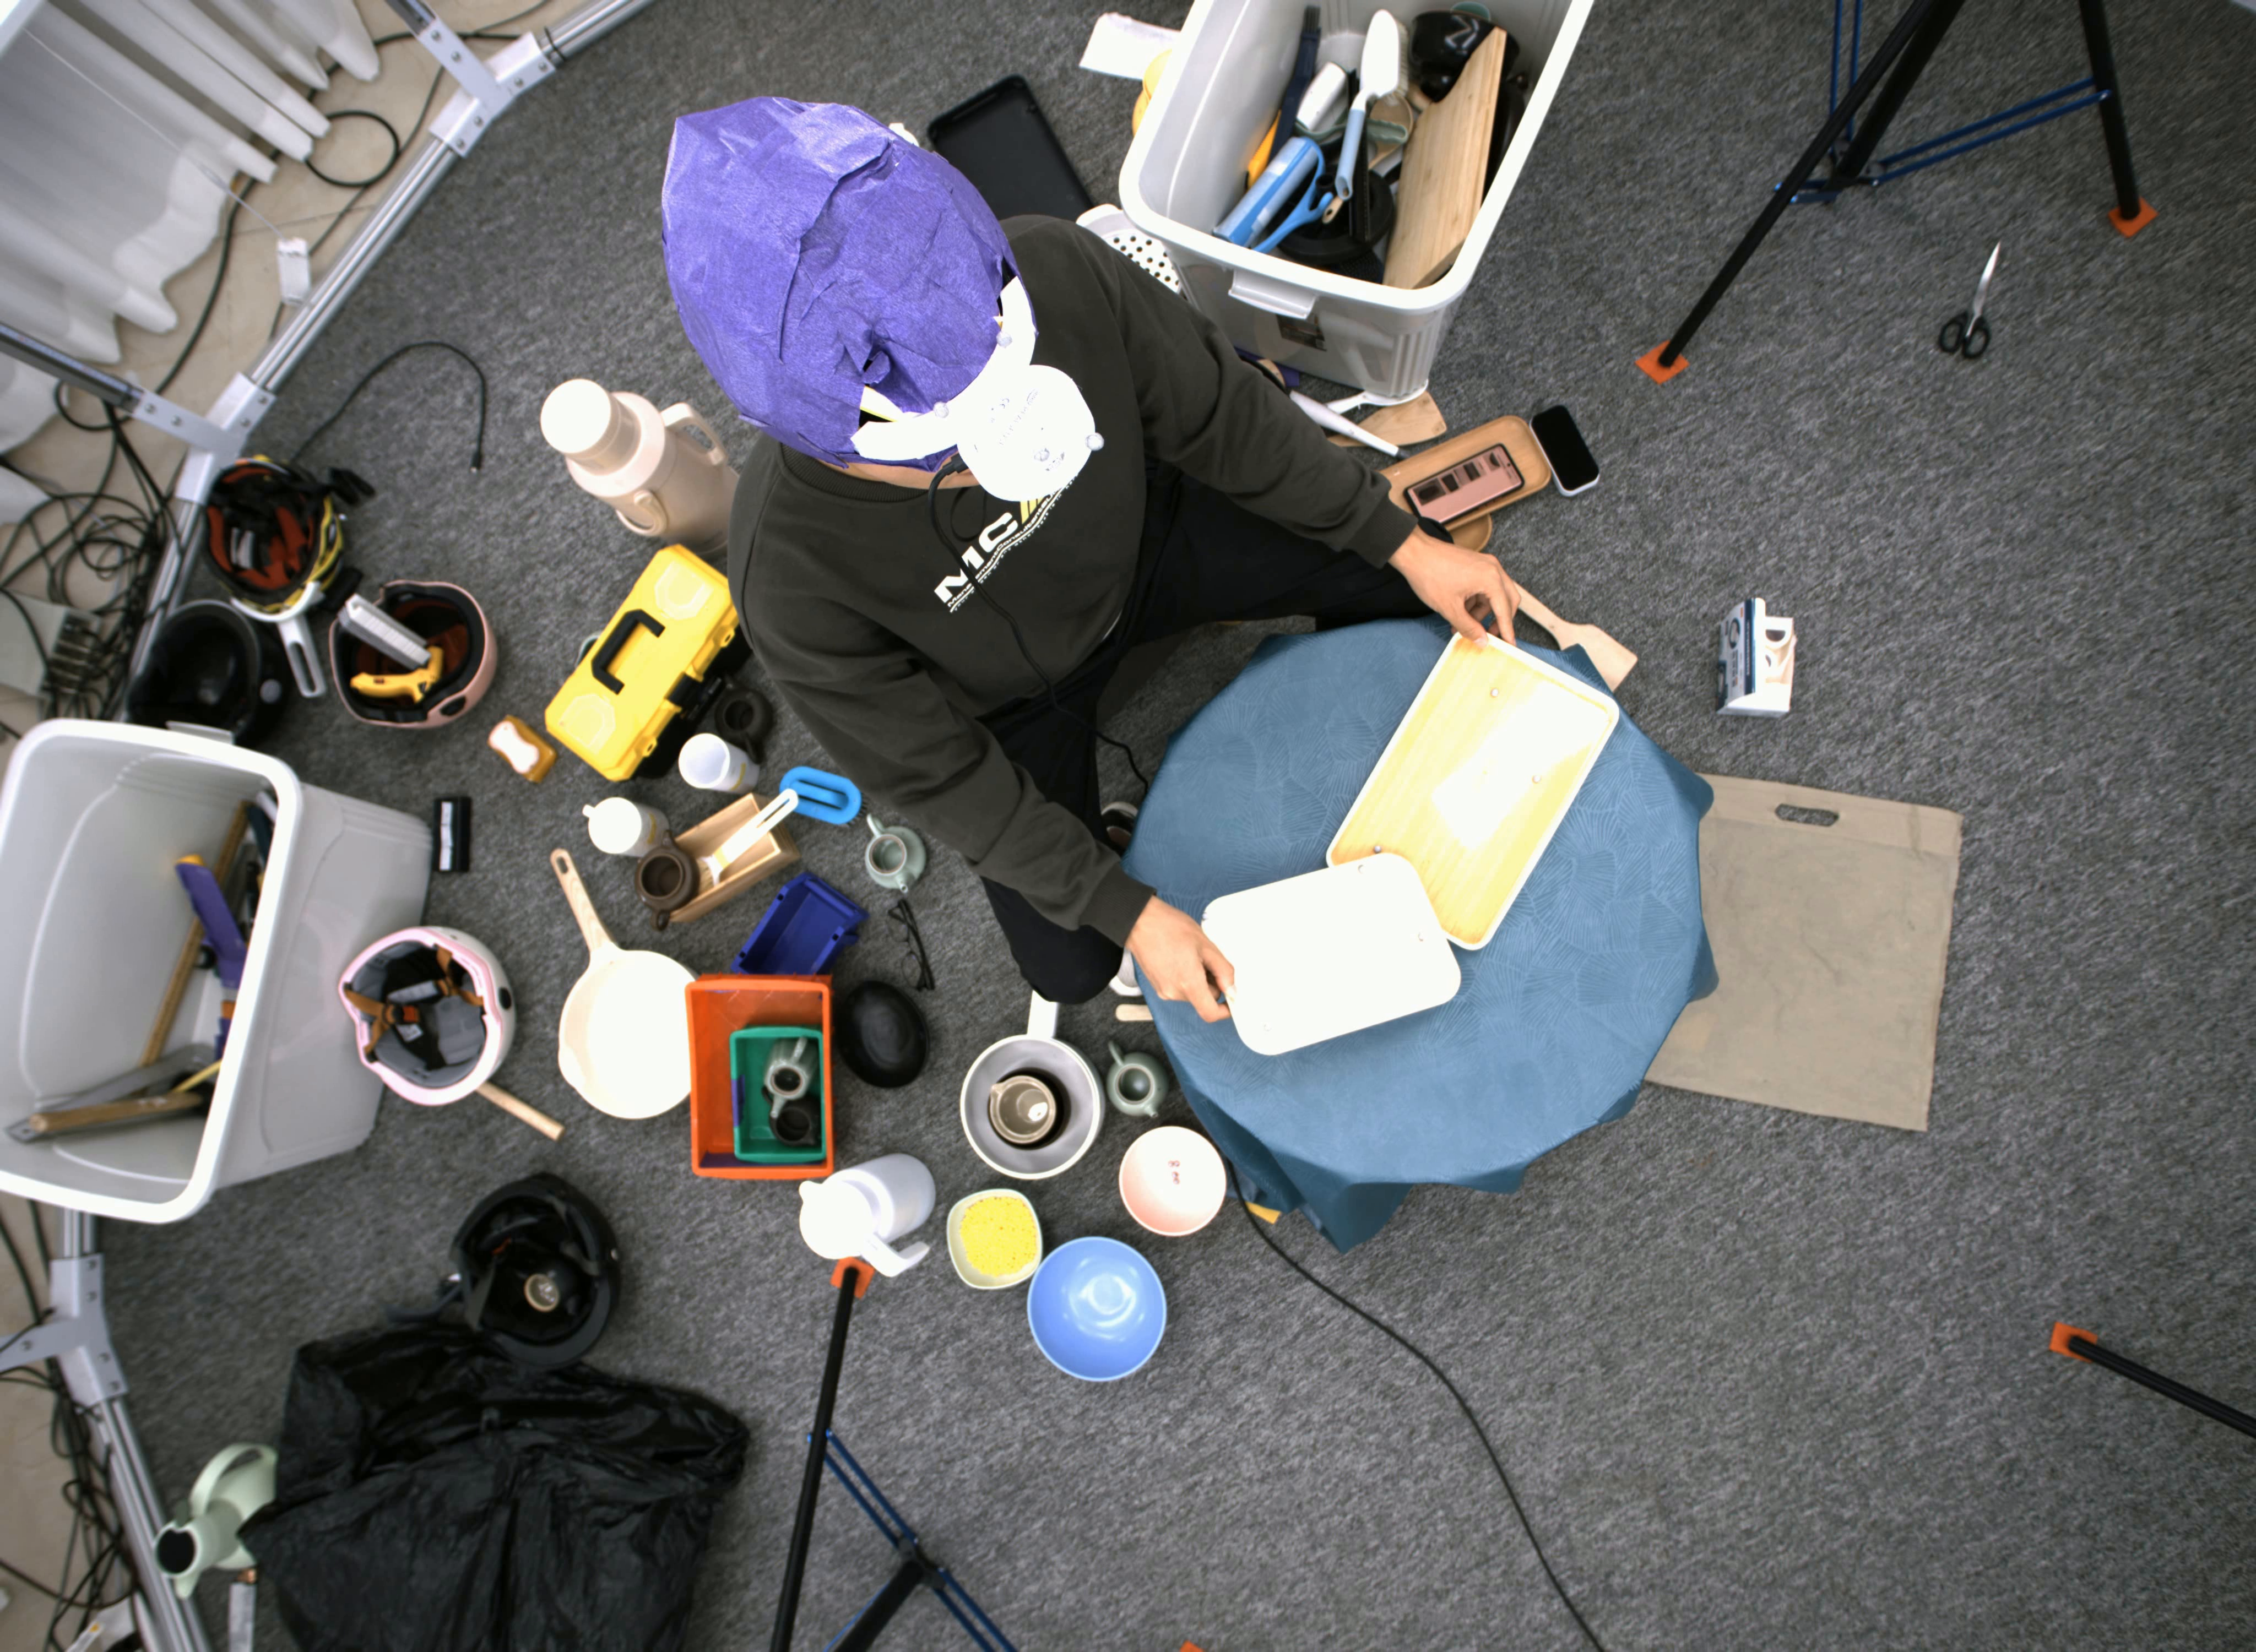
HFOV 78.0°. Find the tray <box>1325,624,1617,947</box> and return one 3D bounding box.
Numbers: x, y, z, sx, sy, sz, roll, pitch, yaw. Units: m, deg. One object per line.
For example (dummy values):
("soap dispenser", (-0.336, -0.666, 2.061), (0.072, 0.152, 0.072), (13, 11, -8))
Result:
("tray", (0.357, -0.045, 1.437), (0.191, 0.027, 0.300), (31, 92, 11))

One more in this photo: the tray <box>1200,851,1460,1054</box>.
("tray", (0.203, 0.125, 1.396), (0.239, 0.018, 0.168), (-15, 70, -11))
